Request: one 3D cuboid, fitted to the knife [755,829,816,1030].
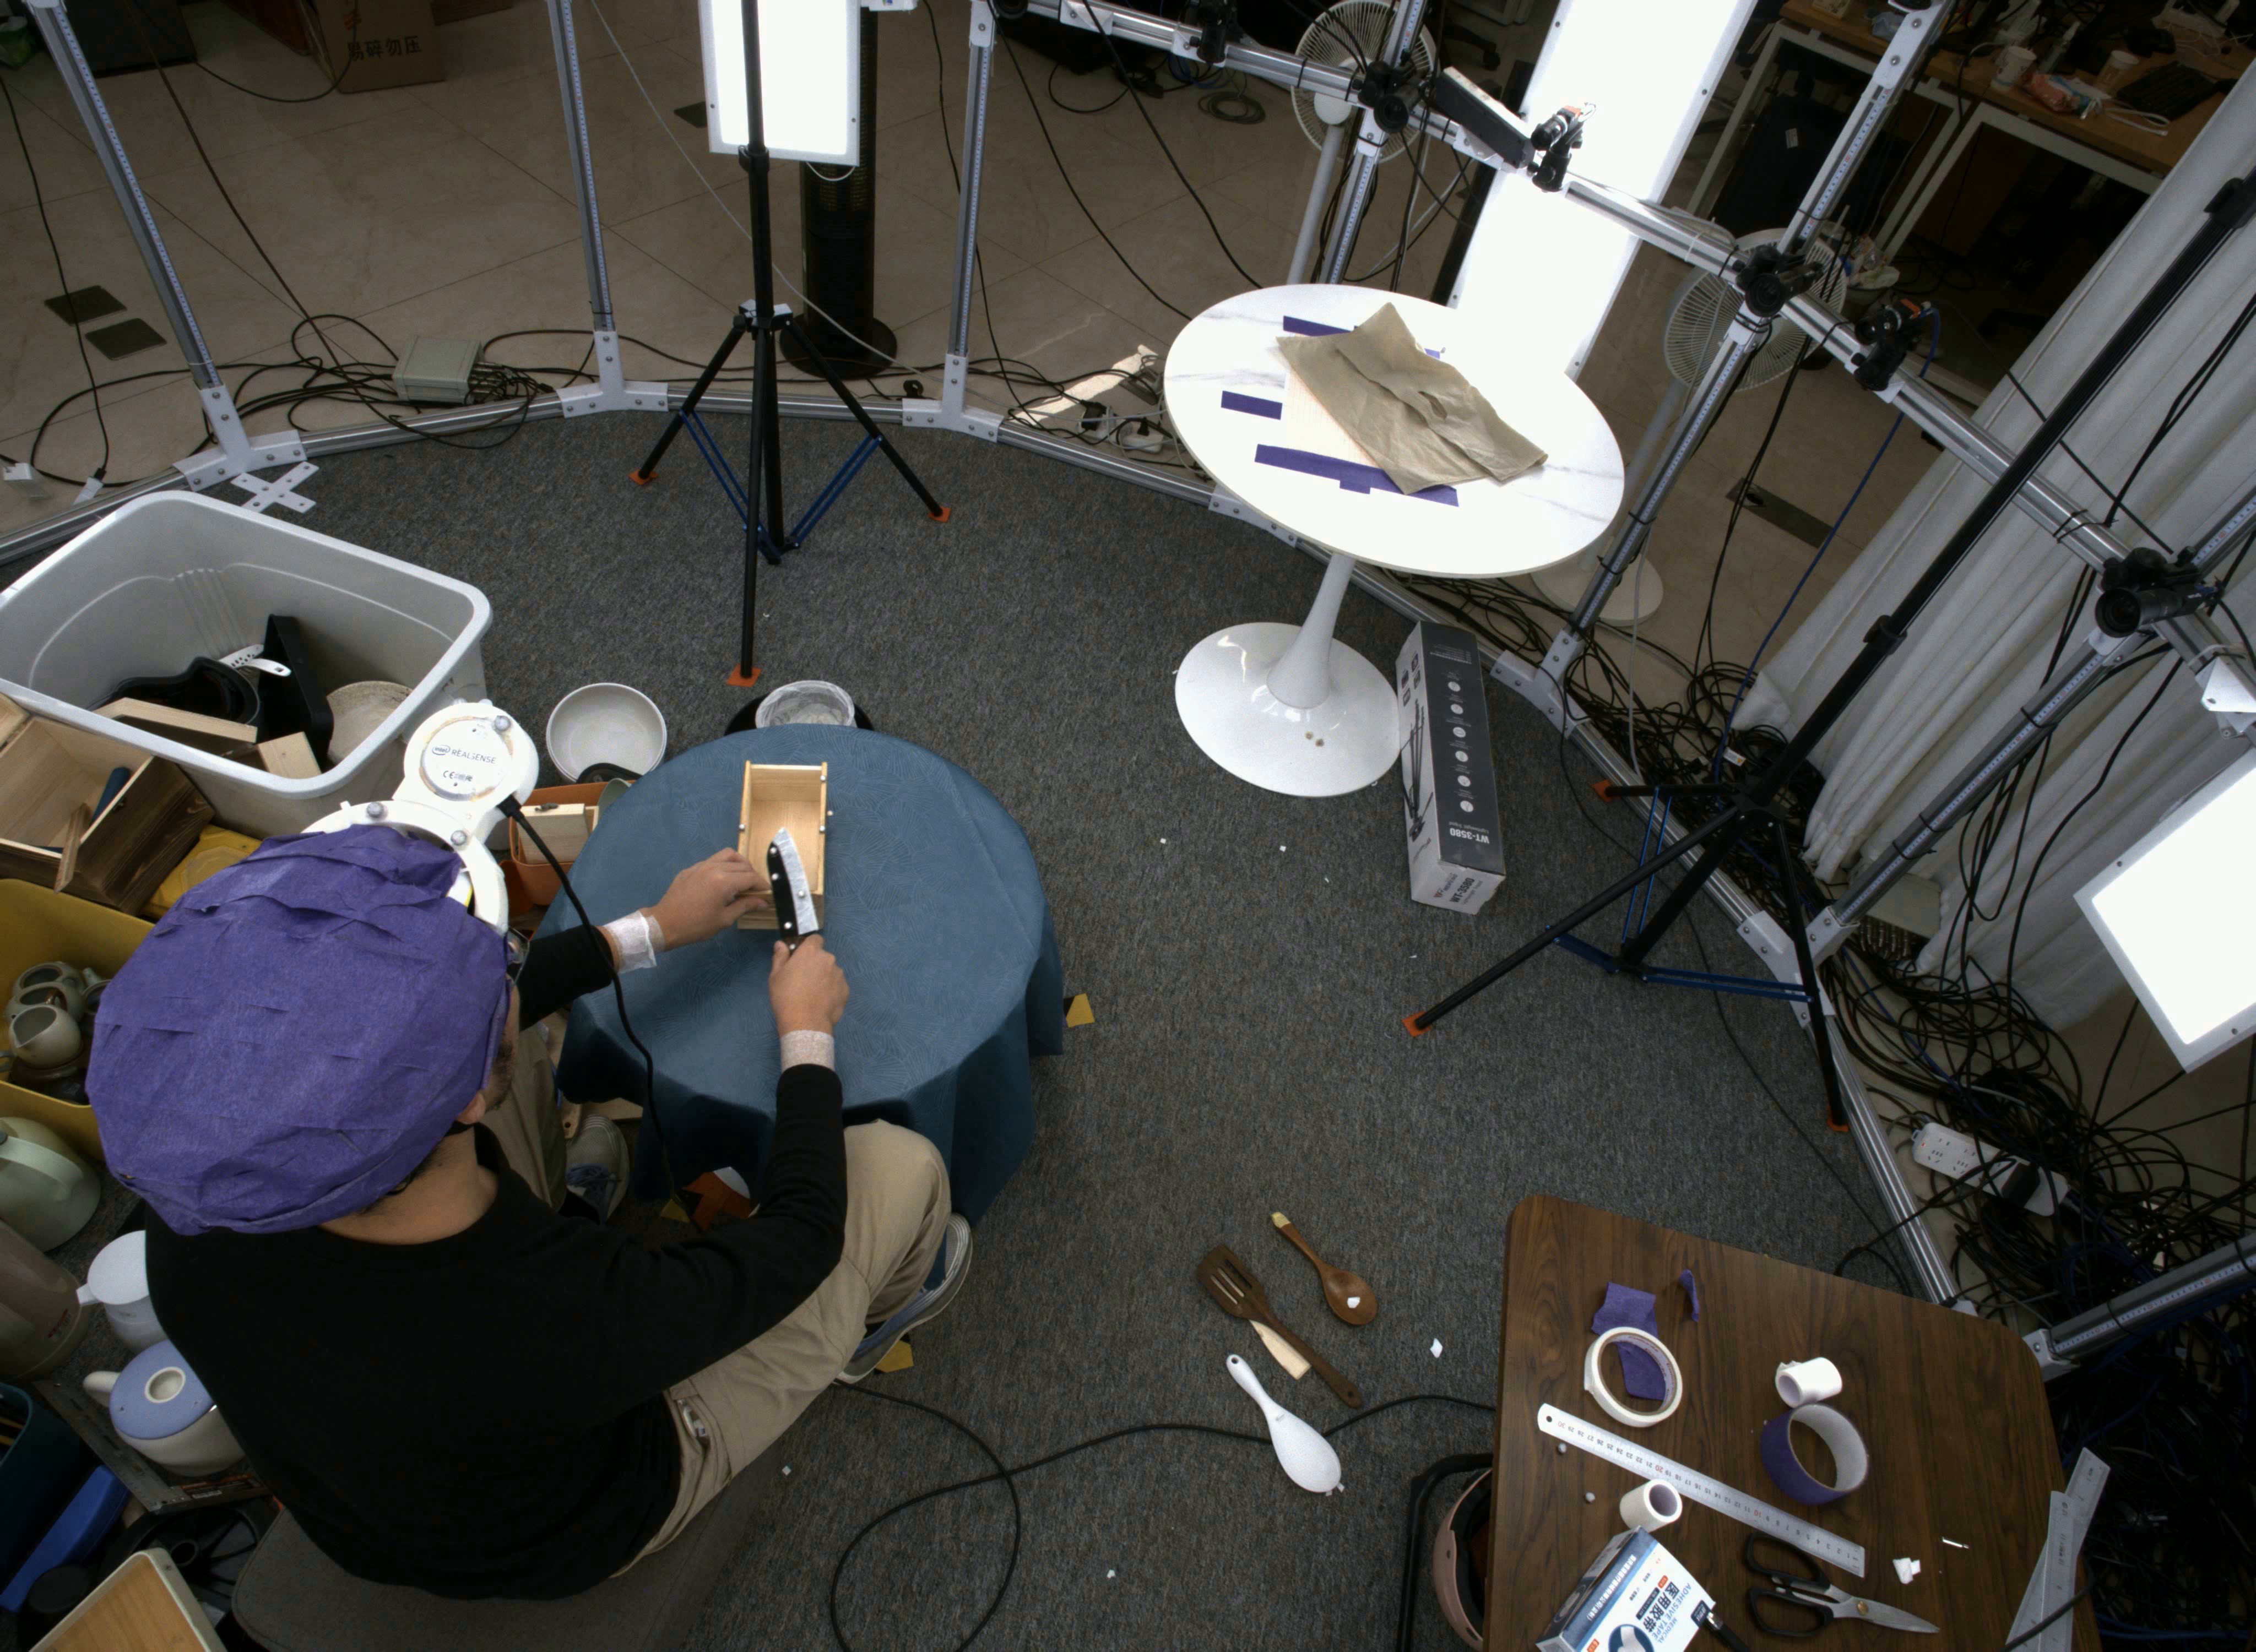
[{"bbox_3d":[-0.402,0.112,1.524,0.050,0.020,0.282,-16,56,-7],"label":"knife"}]

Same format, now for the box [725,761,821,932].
[{"bbox_3d":[-0.448,0.022,1.644,0.107,0.082,0.207,0,53,-13],"label":"box"}]
